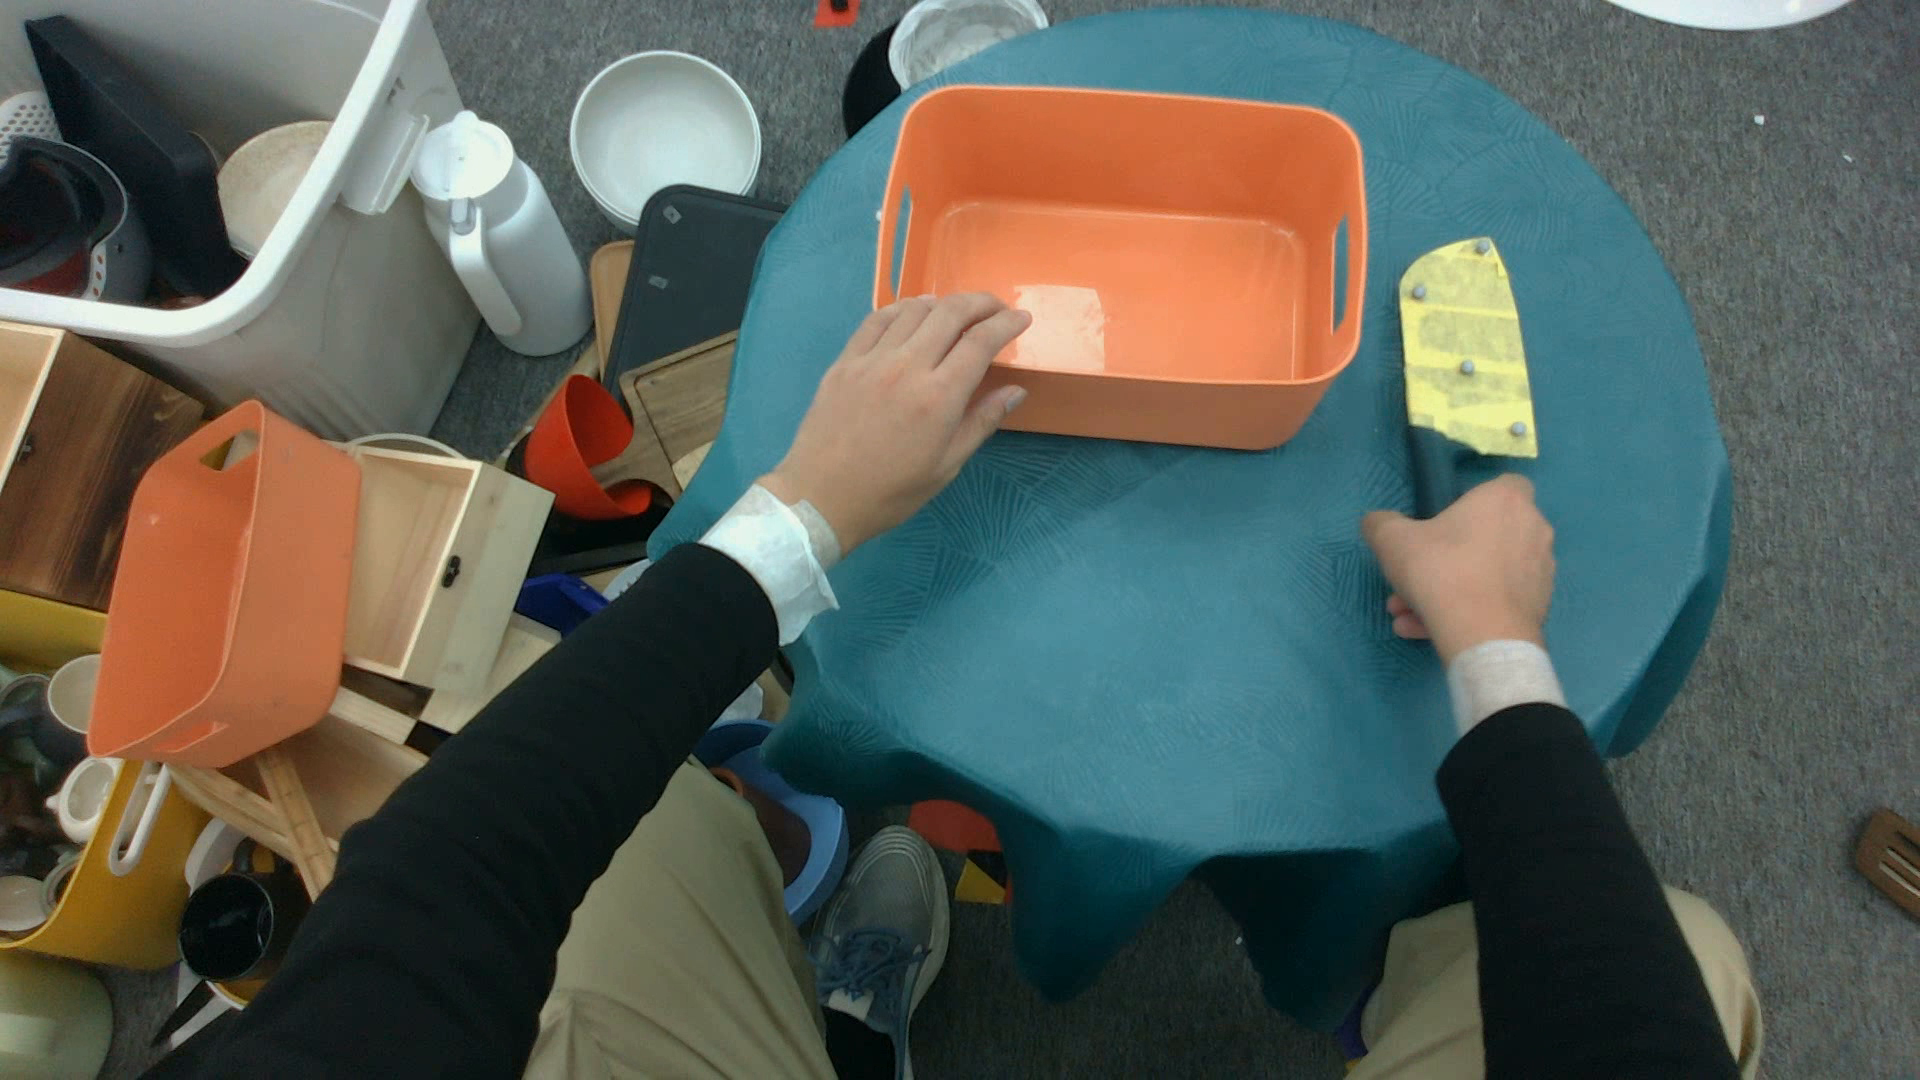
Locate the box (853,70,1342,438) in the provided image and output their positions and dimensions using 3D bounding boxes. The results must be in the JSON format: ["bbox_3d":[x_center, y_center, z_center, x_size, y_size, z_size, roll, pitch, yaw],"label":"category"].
[{"bbox_3d":[0.081,-0.164,0.822,0.273,0.102,0.200,5,65,3],"label":"box"}]

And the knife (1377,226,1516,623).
[{"bbox_3d":[0.286,-0.079,0.812,0.081,0.027,0.291,8,60,4],"label":"knife"}]
